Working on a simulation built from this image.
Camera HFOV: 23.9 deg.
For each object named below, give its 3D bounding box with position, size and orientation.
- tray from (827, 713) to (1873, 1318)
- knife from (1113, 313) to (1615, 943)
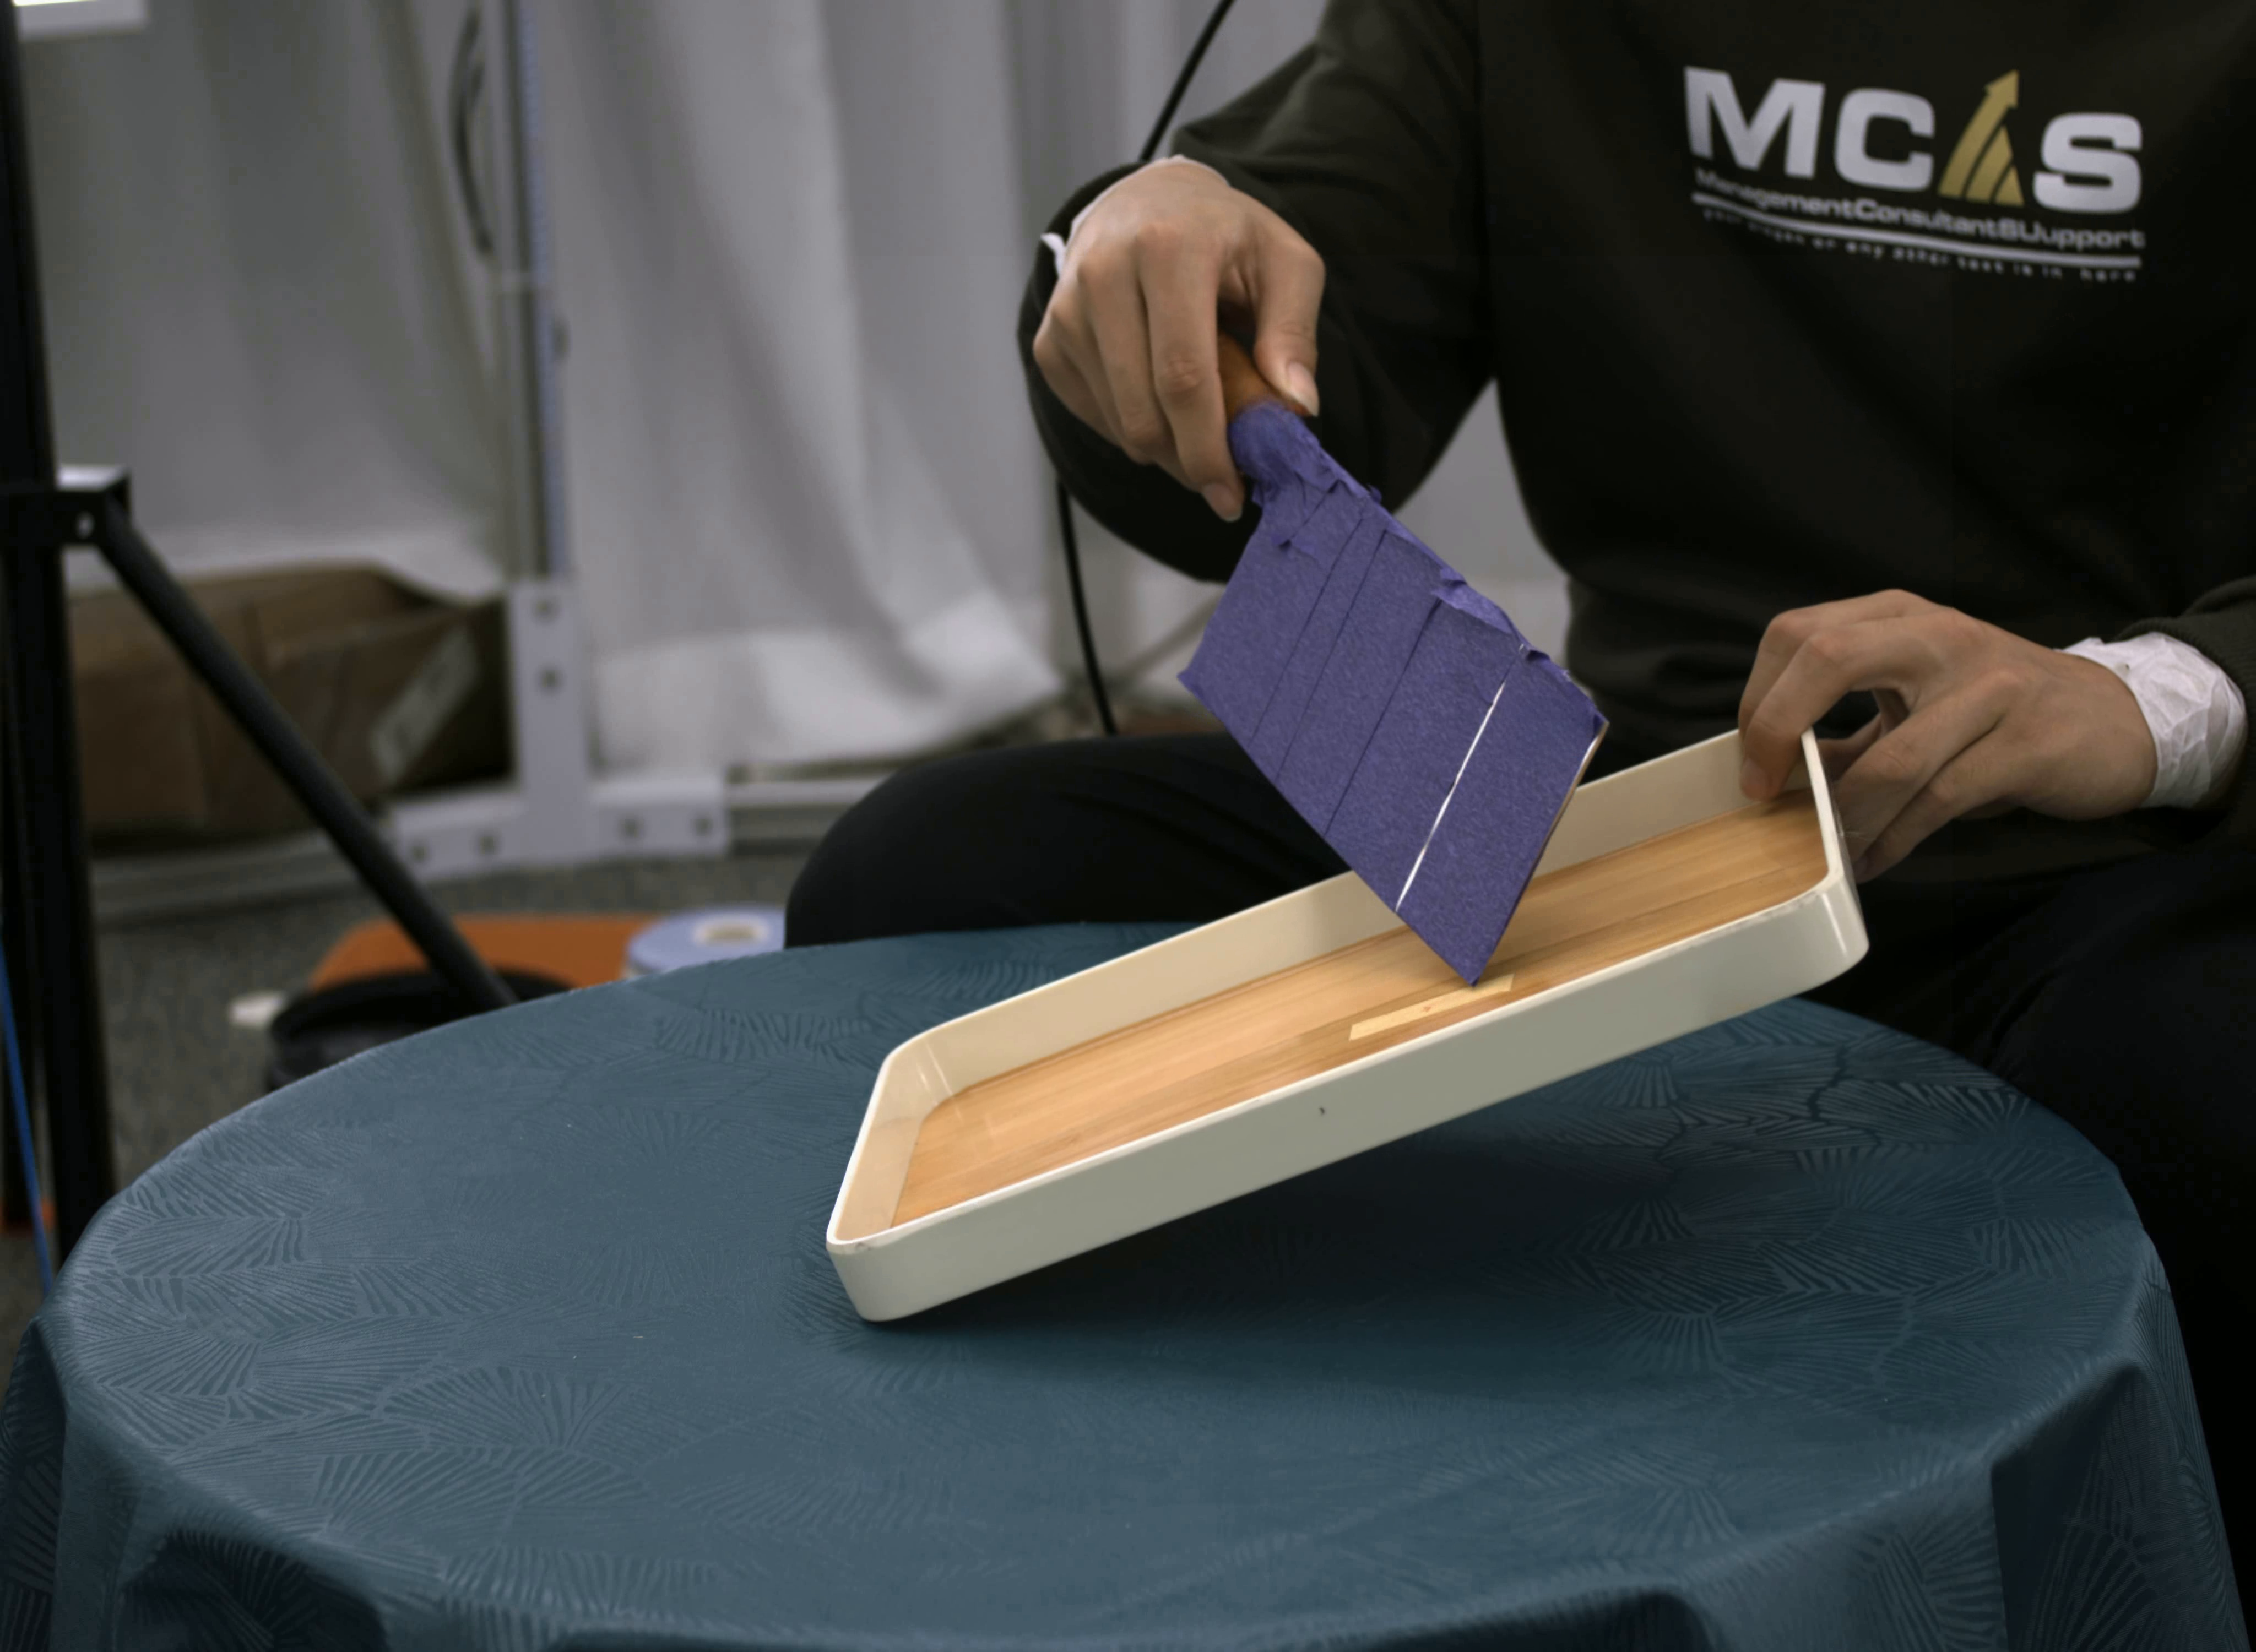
[{"bbox_3d":[0.063,0.052,1.519,0.301,0.027,0.191,-21,13,10],"label":"tray"},{"bbox_3d":[0.053,-0.064,1.622,0.031,0.104,0.321,19,16,-30],"label":"knife"}]
